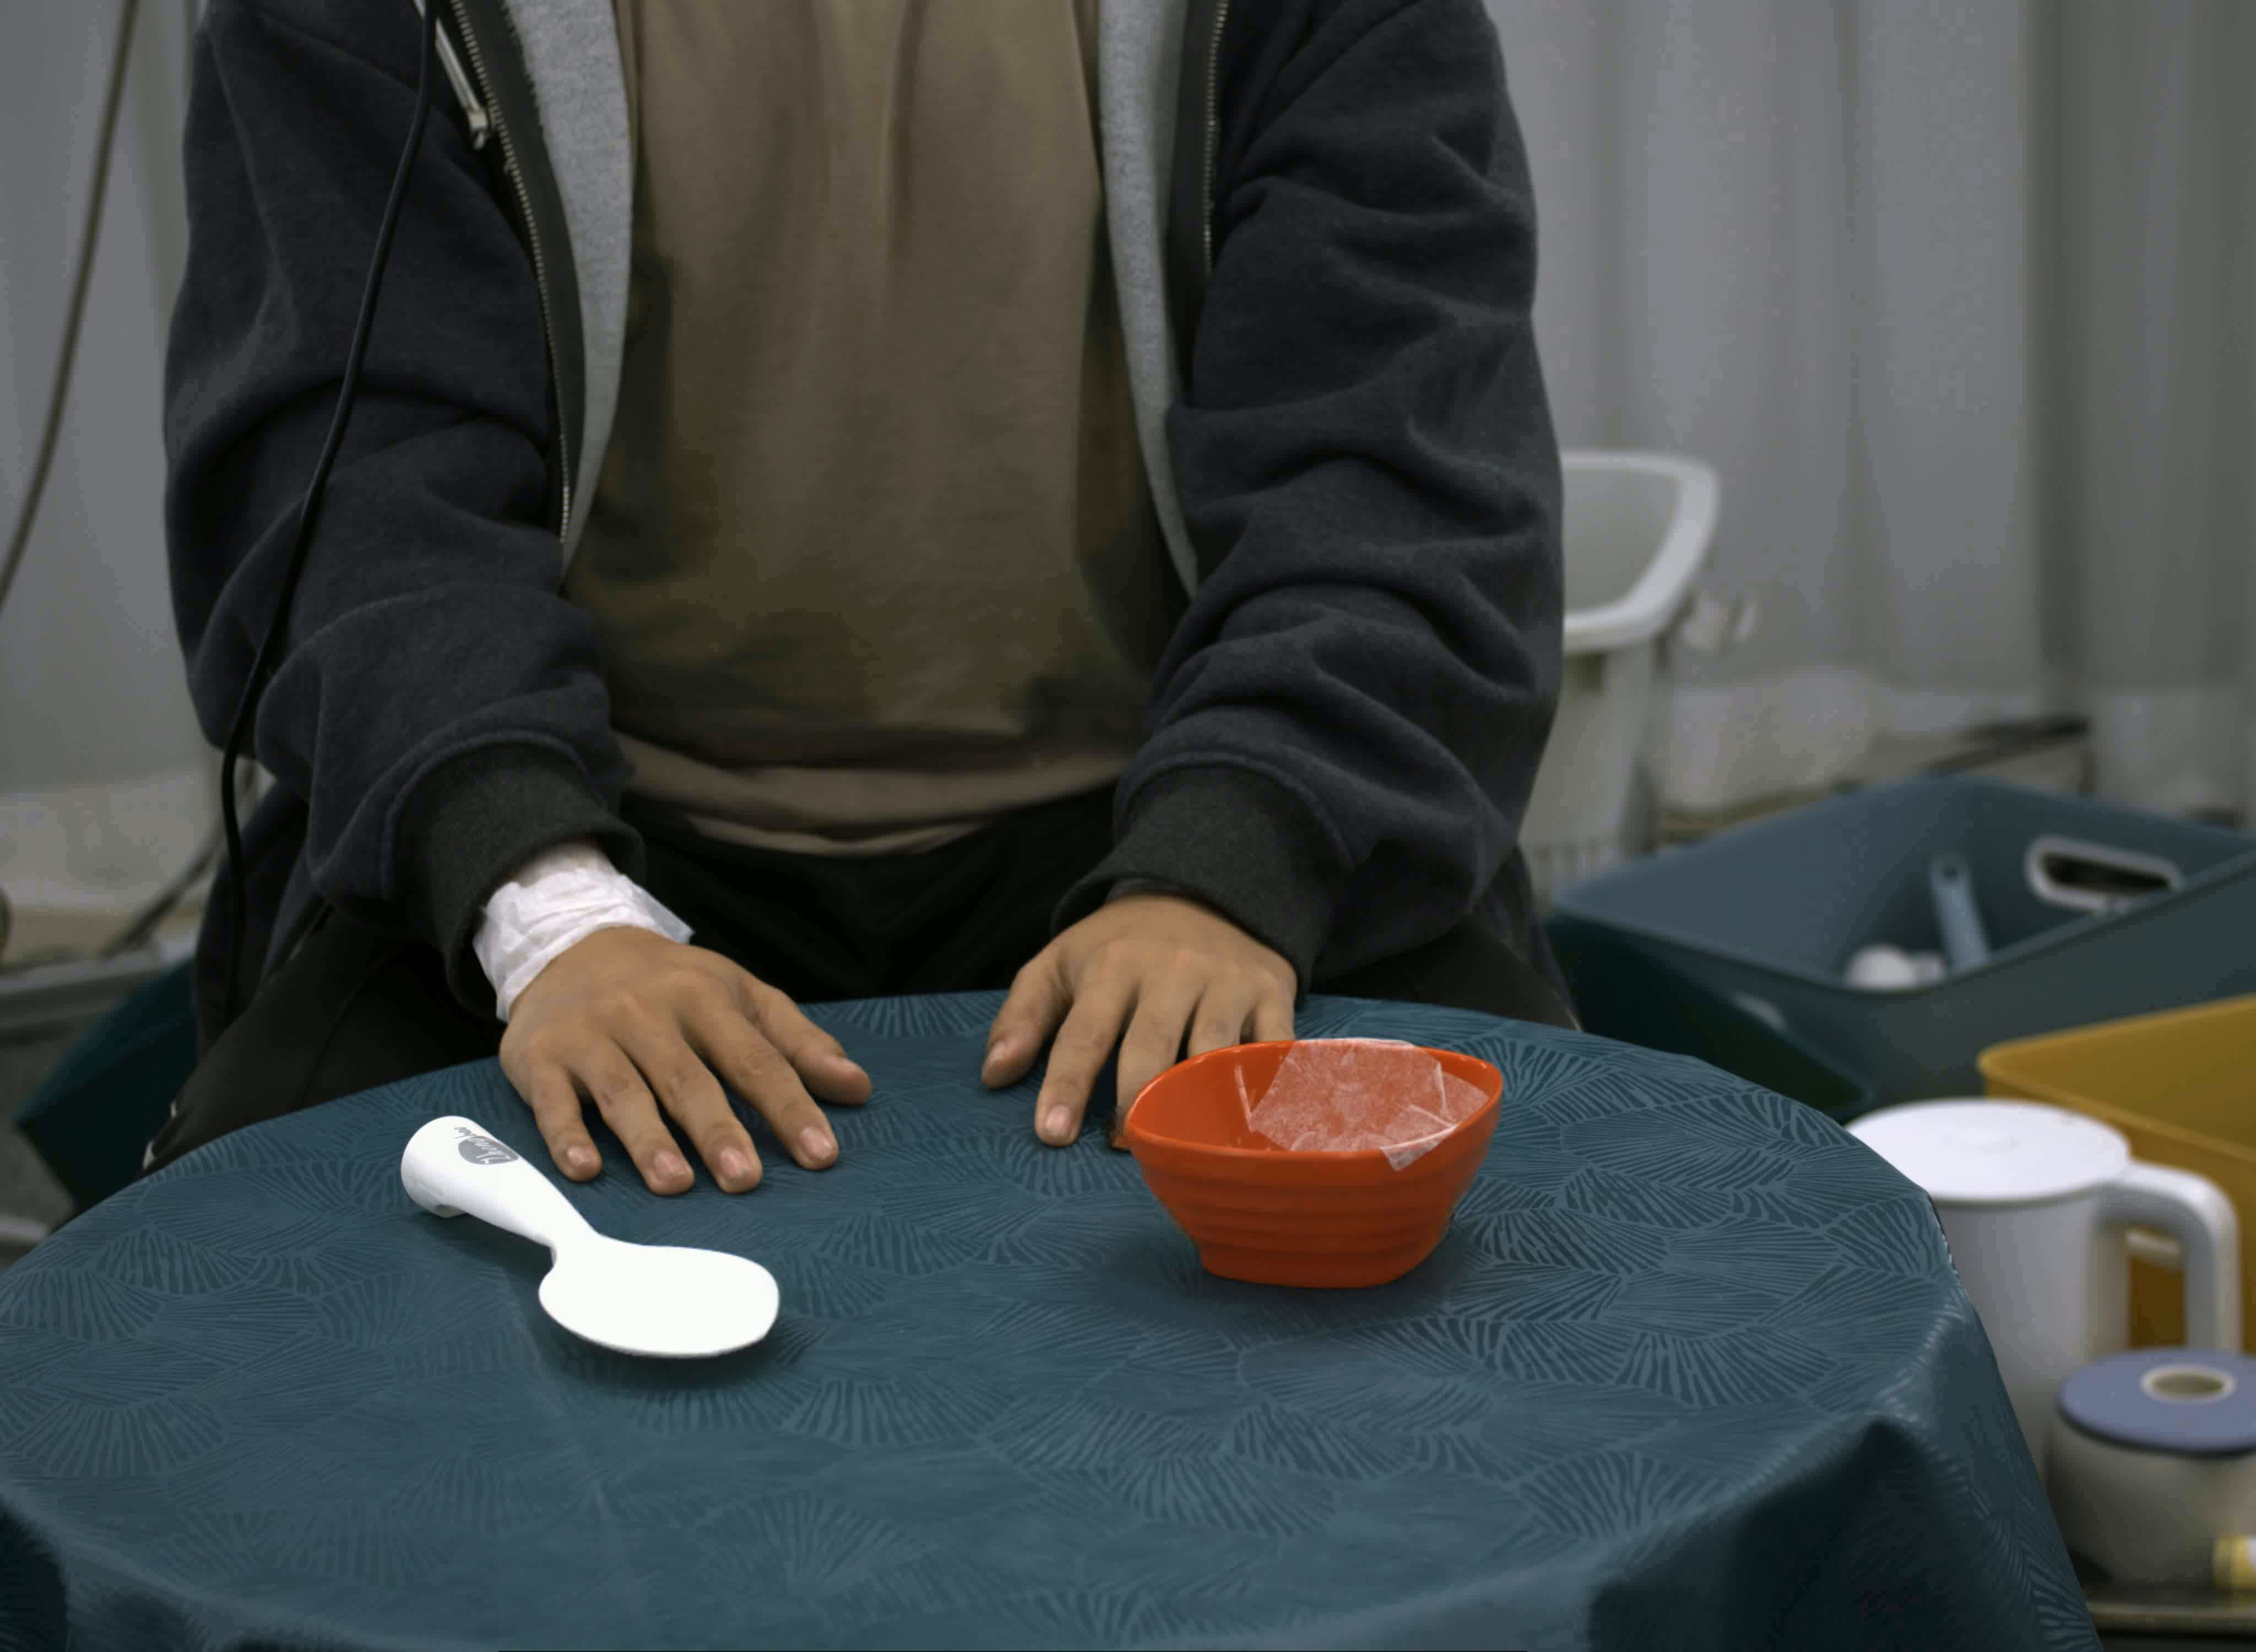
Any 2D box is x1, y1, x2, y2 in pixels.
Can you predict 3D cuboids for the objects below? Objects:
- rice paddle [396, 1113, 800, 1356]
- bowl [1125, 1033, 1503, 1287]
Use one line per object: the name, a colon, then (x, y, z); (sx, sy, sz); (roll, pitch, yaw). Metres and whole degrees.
rice paddle: (-0.164, 0.125, 1.650); (0.068, 0.029, 0.207); (-13, 18, -29)
bowl: (0.057, 0.103, 1.646); (0.118, 0.051, 0.120); (-3, 16, 1)
